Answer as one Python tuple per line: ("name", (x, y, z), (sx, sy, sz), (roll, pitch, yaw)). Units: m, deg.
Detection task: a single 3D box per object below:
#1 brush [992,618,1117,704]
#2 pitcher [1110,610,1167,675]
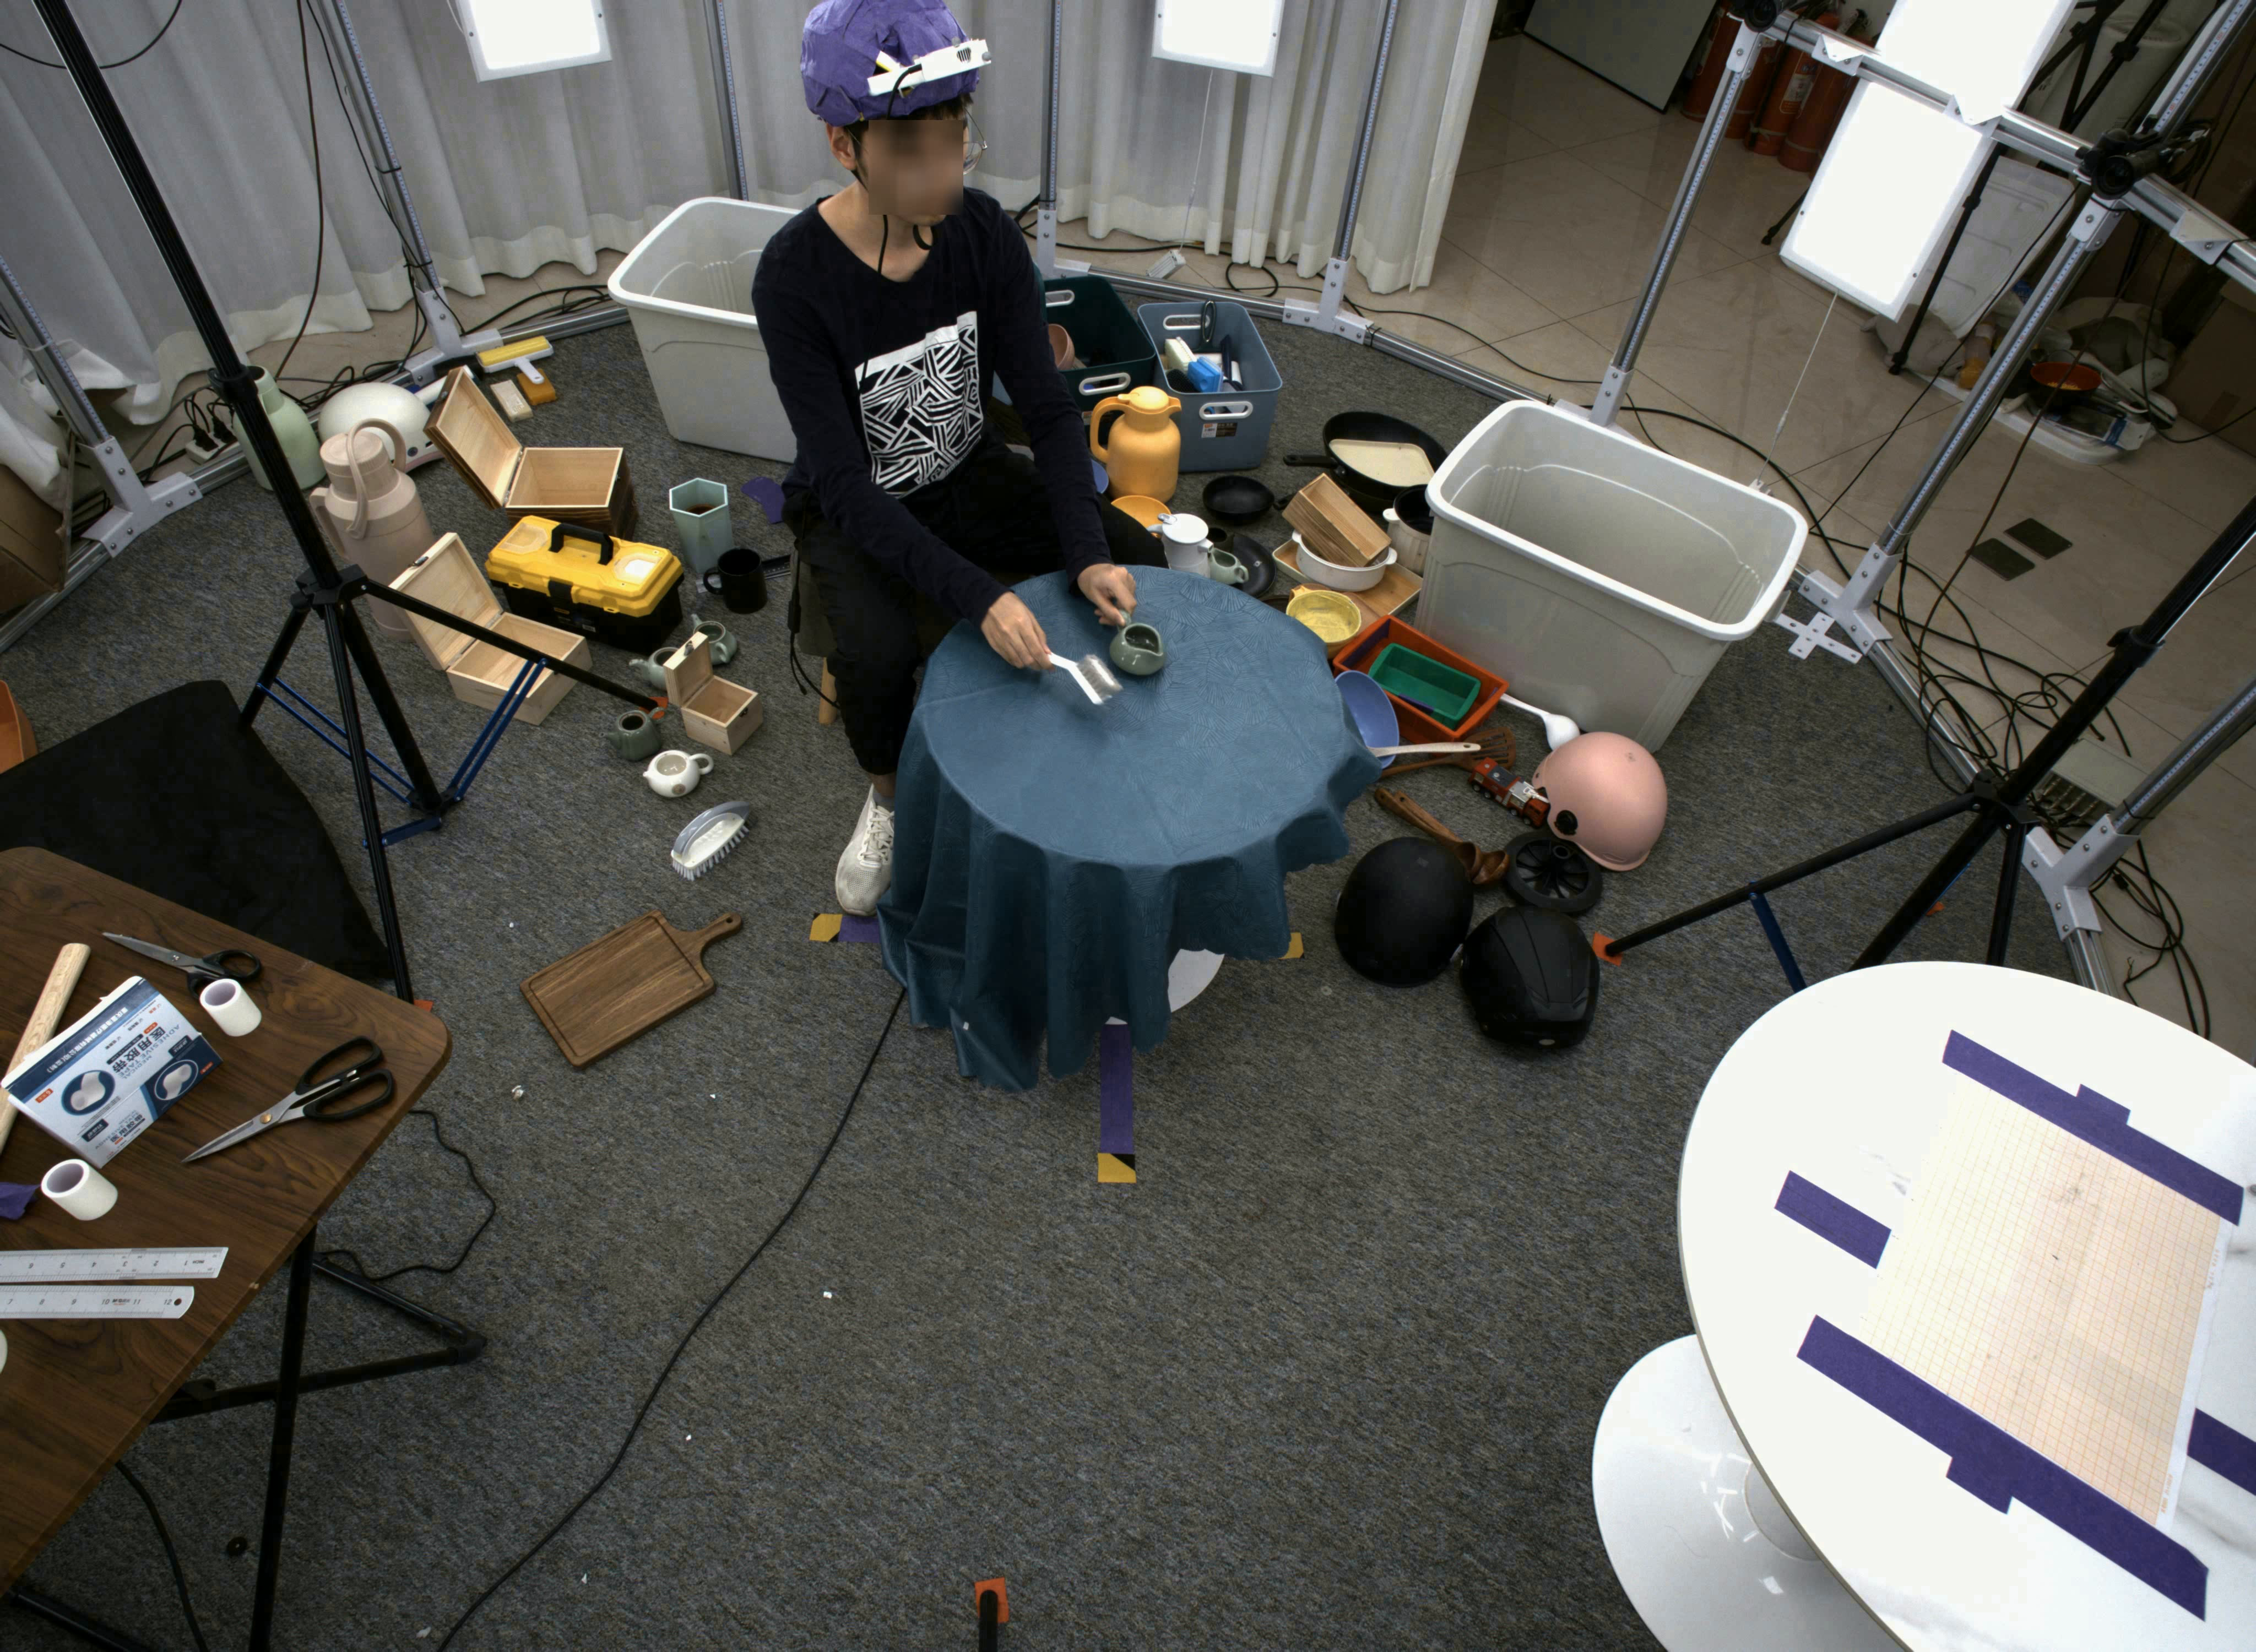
("brush", (-0.106, -0.250, 1.811), (0.034, 0.049, 0.248), (-12, 42, -46))
("pitcher", (0.013, -0.263, 1.857), (0.084, 0.055, 0.114), (-24, 57, -30))
